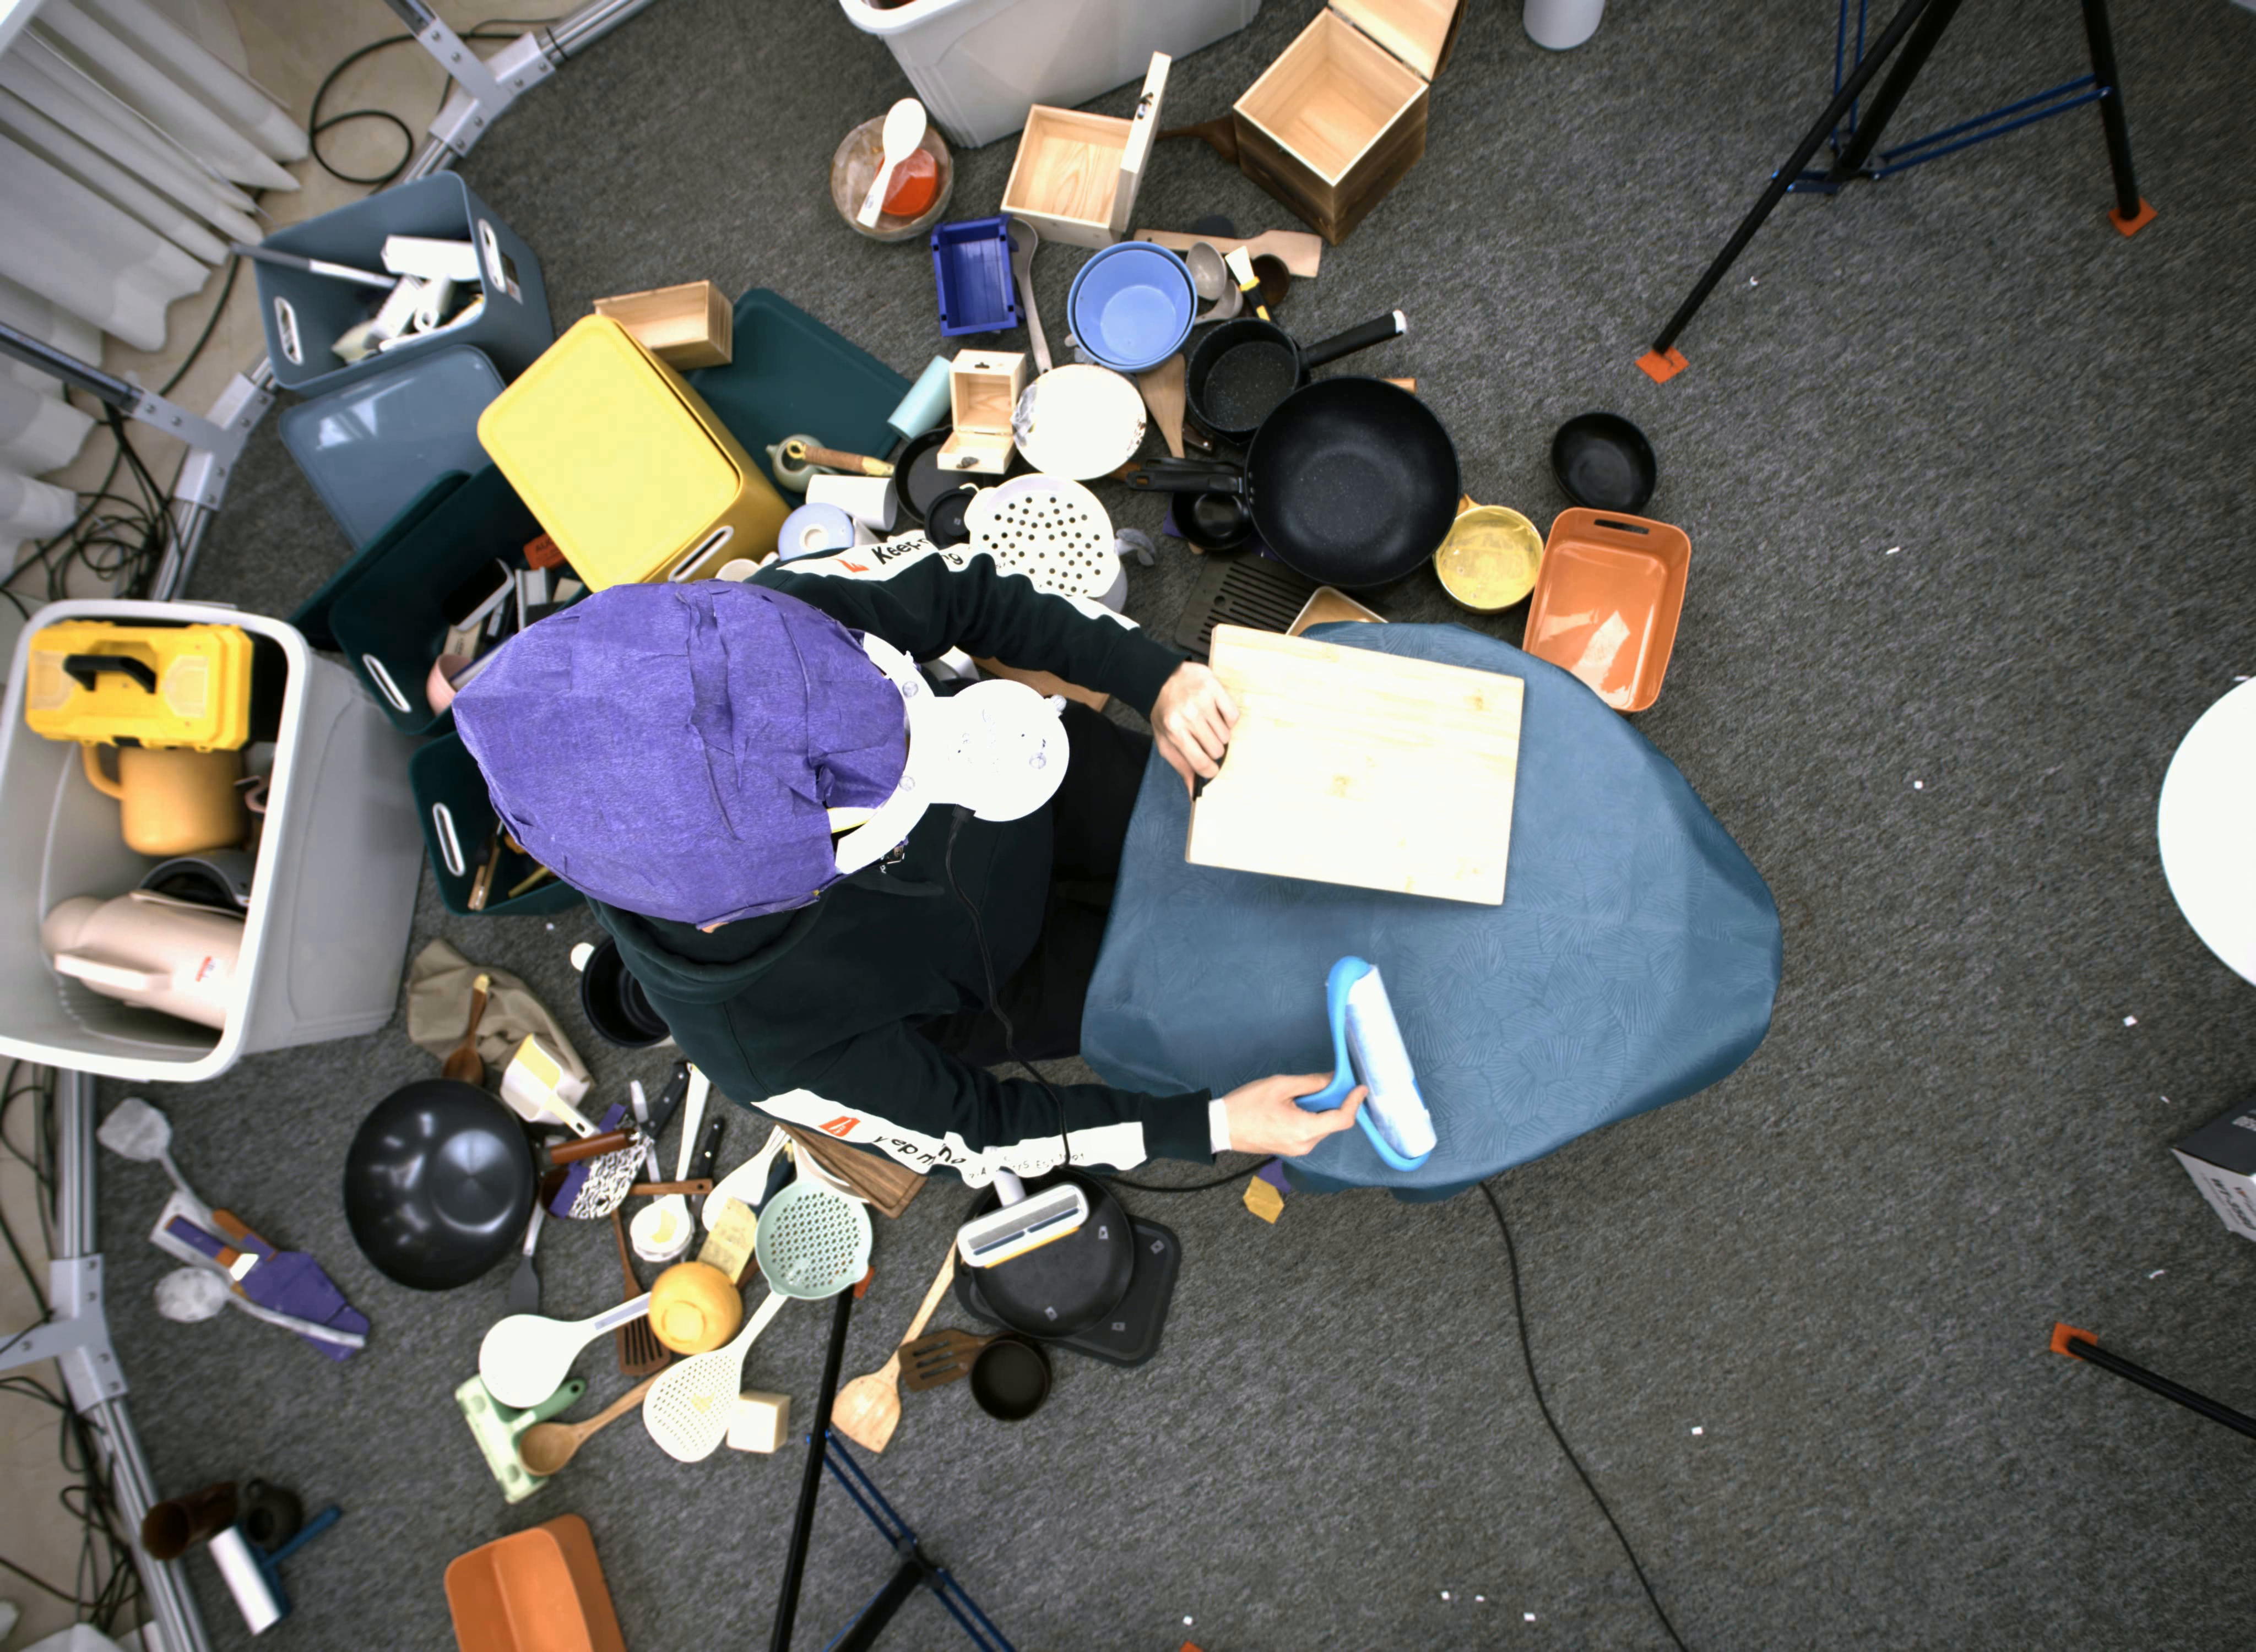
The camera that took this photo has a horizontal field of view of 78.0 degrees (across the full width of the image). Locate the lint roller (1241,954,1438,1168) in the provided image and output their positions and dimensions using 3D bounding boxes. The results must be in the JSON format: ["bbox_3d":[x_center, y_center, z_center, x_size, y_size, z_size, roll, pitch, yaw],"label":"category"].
[{"bbox_3d":[0.202,0.259,1.372,0.179,0.068,0.231,-27,103,-12],"label":"lint roller"}]

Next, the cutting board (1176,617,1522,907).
[{"bbox_3d":[0.229,-0.062,1.393,0.348,0.023,0.250,7,88,-13],"label":"cutting board"}]
